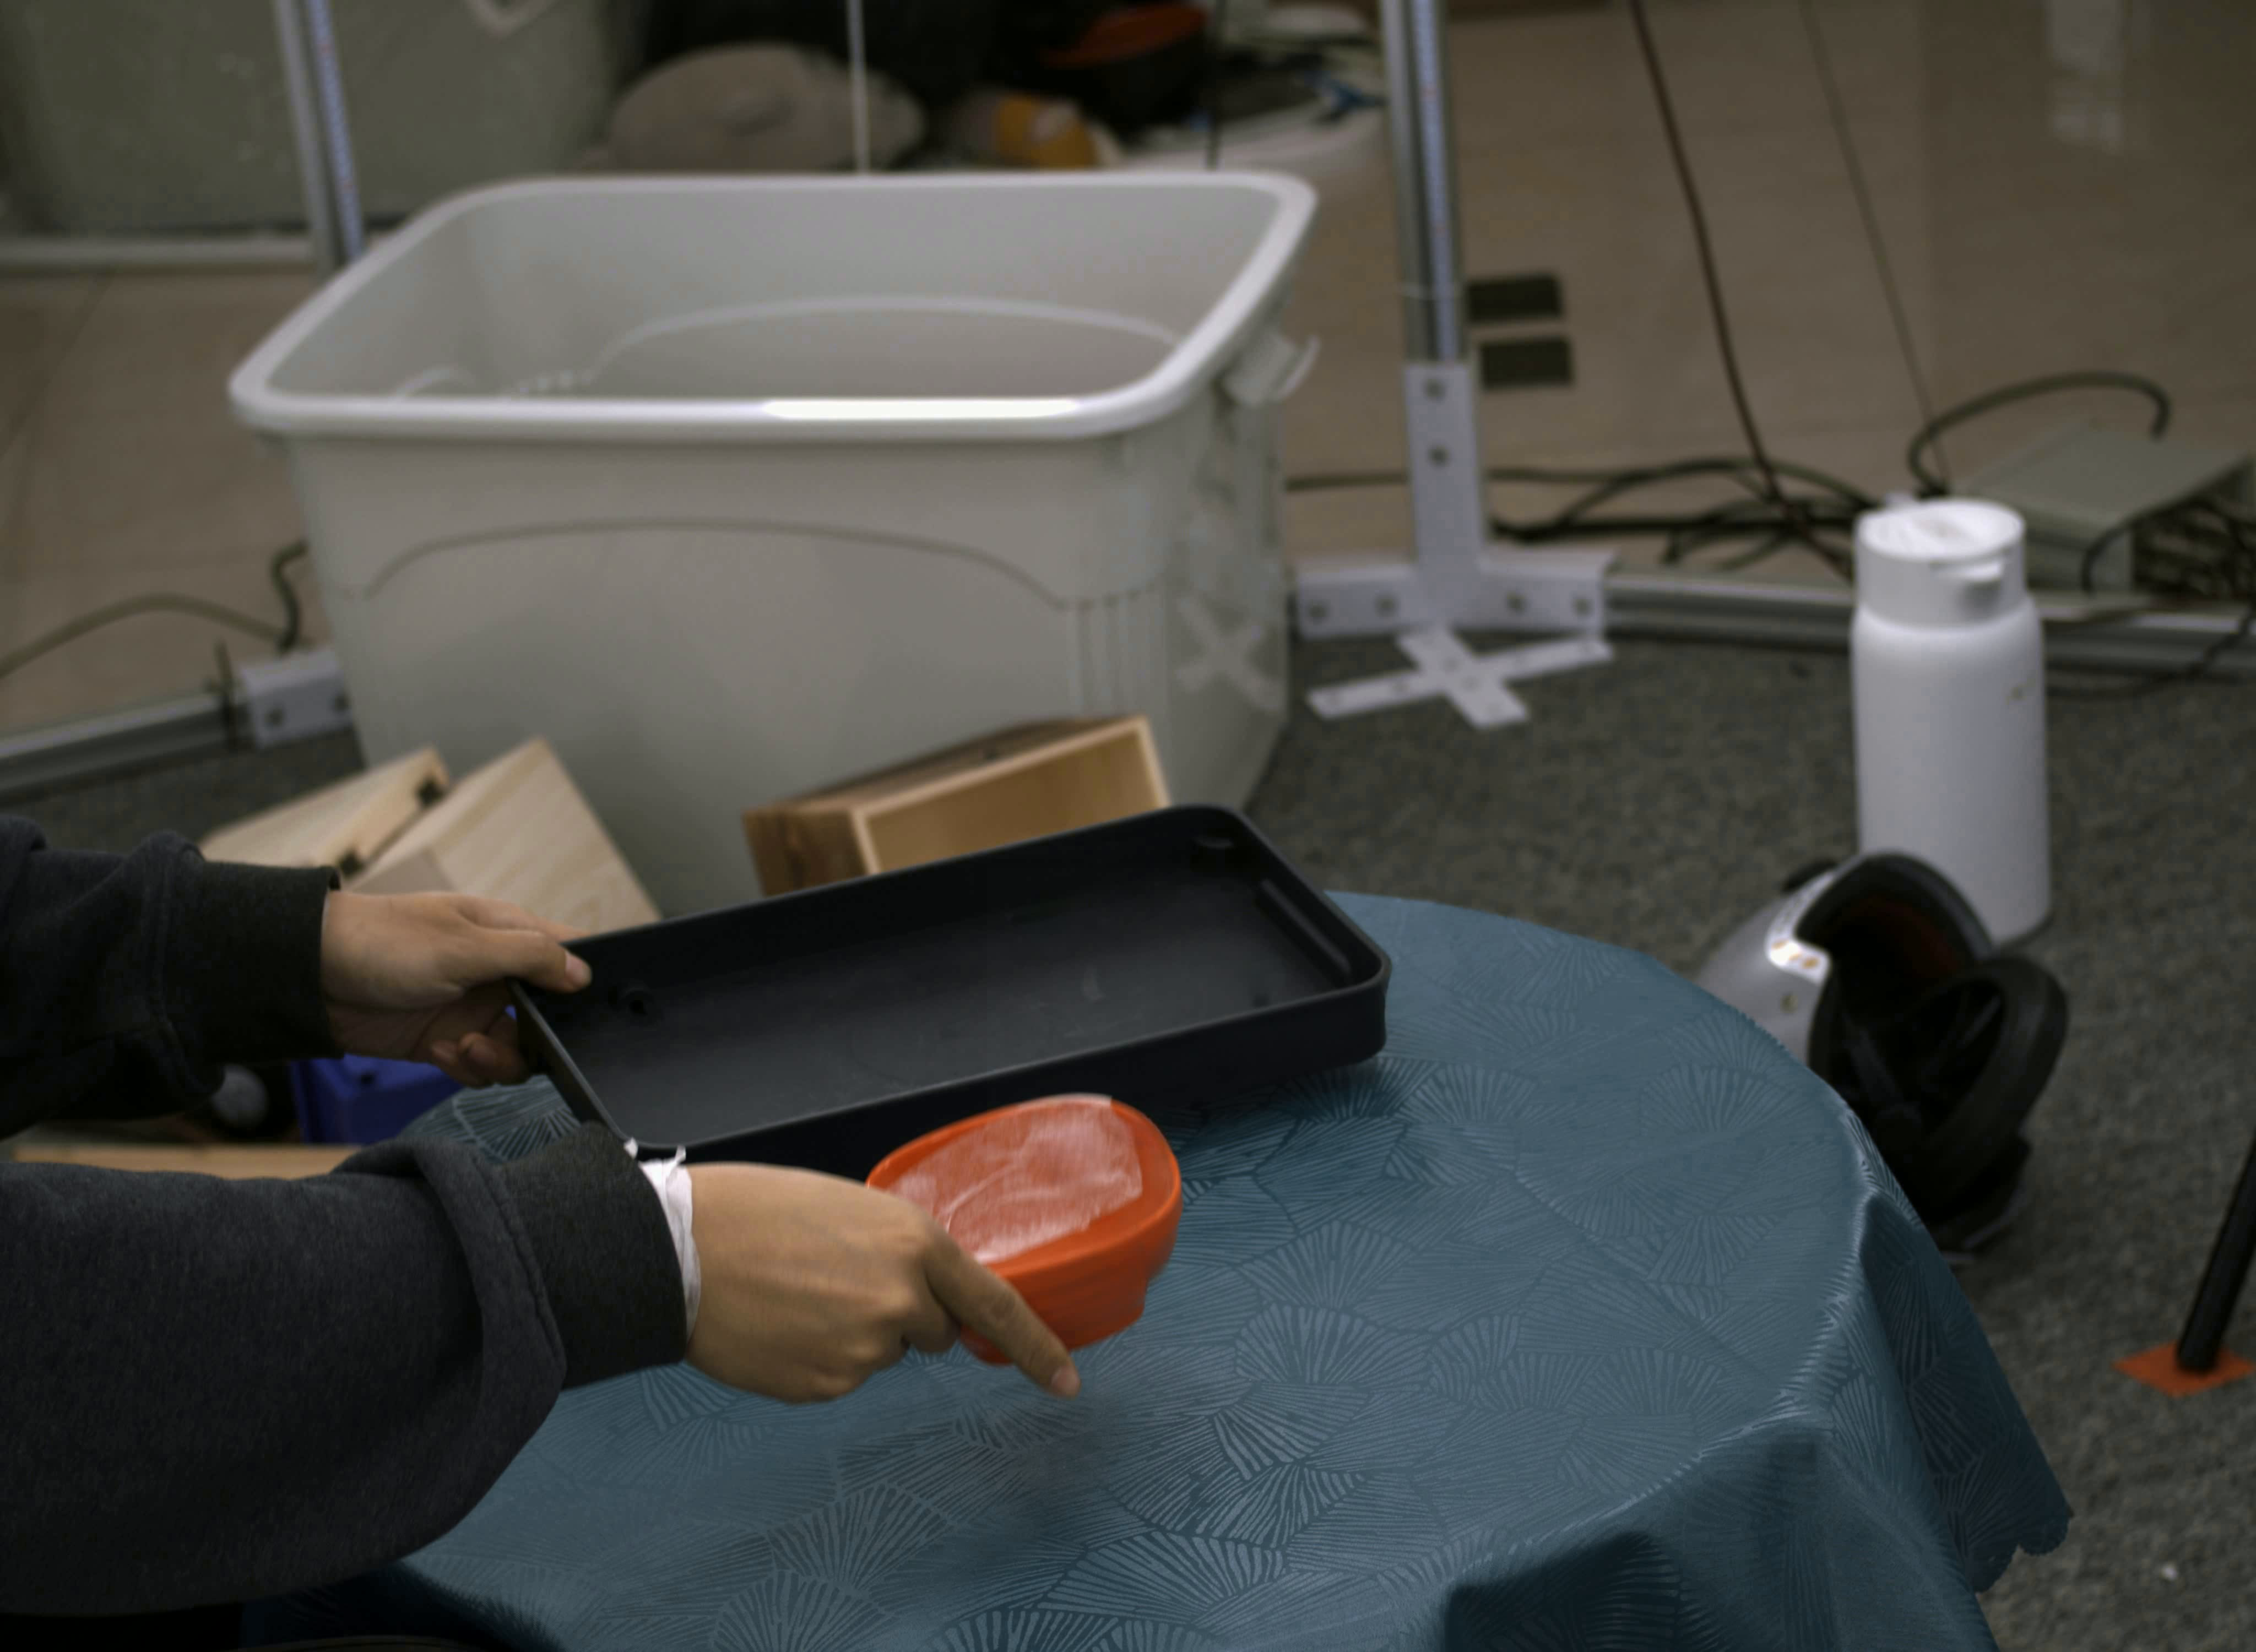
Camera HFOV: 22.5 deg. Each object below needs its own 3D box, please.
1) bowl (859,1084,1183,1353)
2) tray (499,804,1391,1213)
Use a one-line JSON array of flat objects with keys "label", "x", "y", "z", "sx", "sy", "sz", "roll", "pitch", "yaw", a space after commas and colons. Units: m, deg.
[{"label": "bowl", "x": -0.034, "y": 0.142, "z": 1.970, "sx": 0.119, "sy": 0.052, "sz": 0.117, "roll": -8, "pitch": 29, "yaw": 4}, {"label": "tray", "x": -0.072, "y": 0.067, "z": 2.213, "sx": 0.317, "sy": 0.037, "sz": 0.182, "roll": -12, "pitch": 28, "yaw": -19}]
